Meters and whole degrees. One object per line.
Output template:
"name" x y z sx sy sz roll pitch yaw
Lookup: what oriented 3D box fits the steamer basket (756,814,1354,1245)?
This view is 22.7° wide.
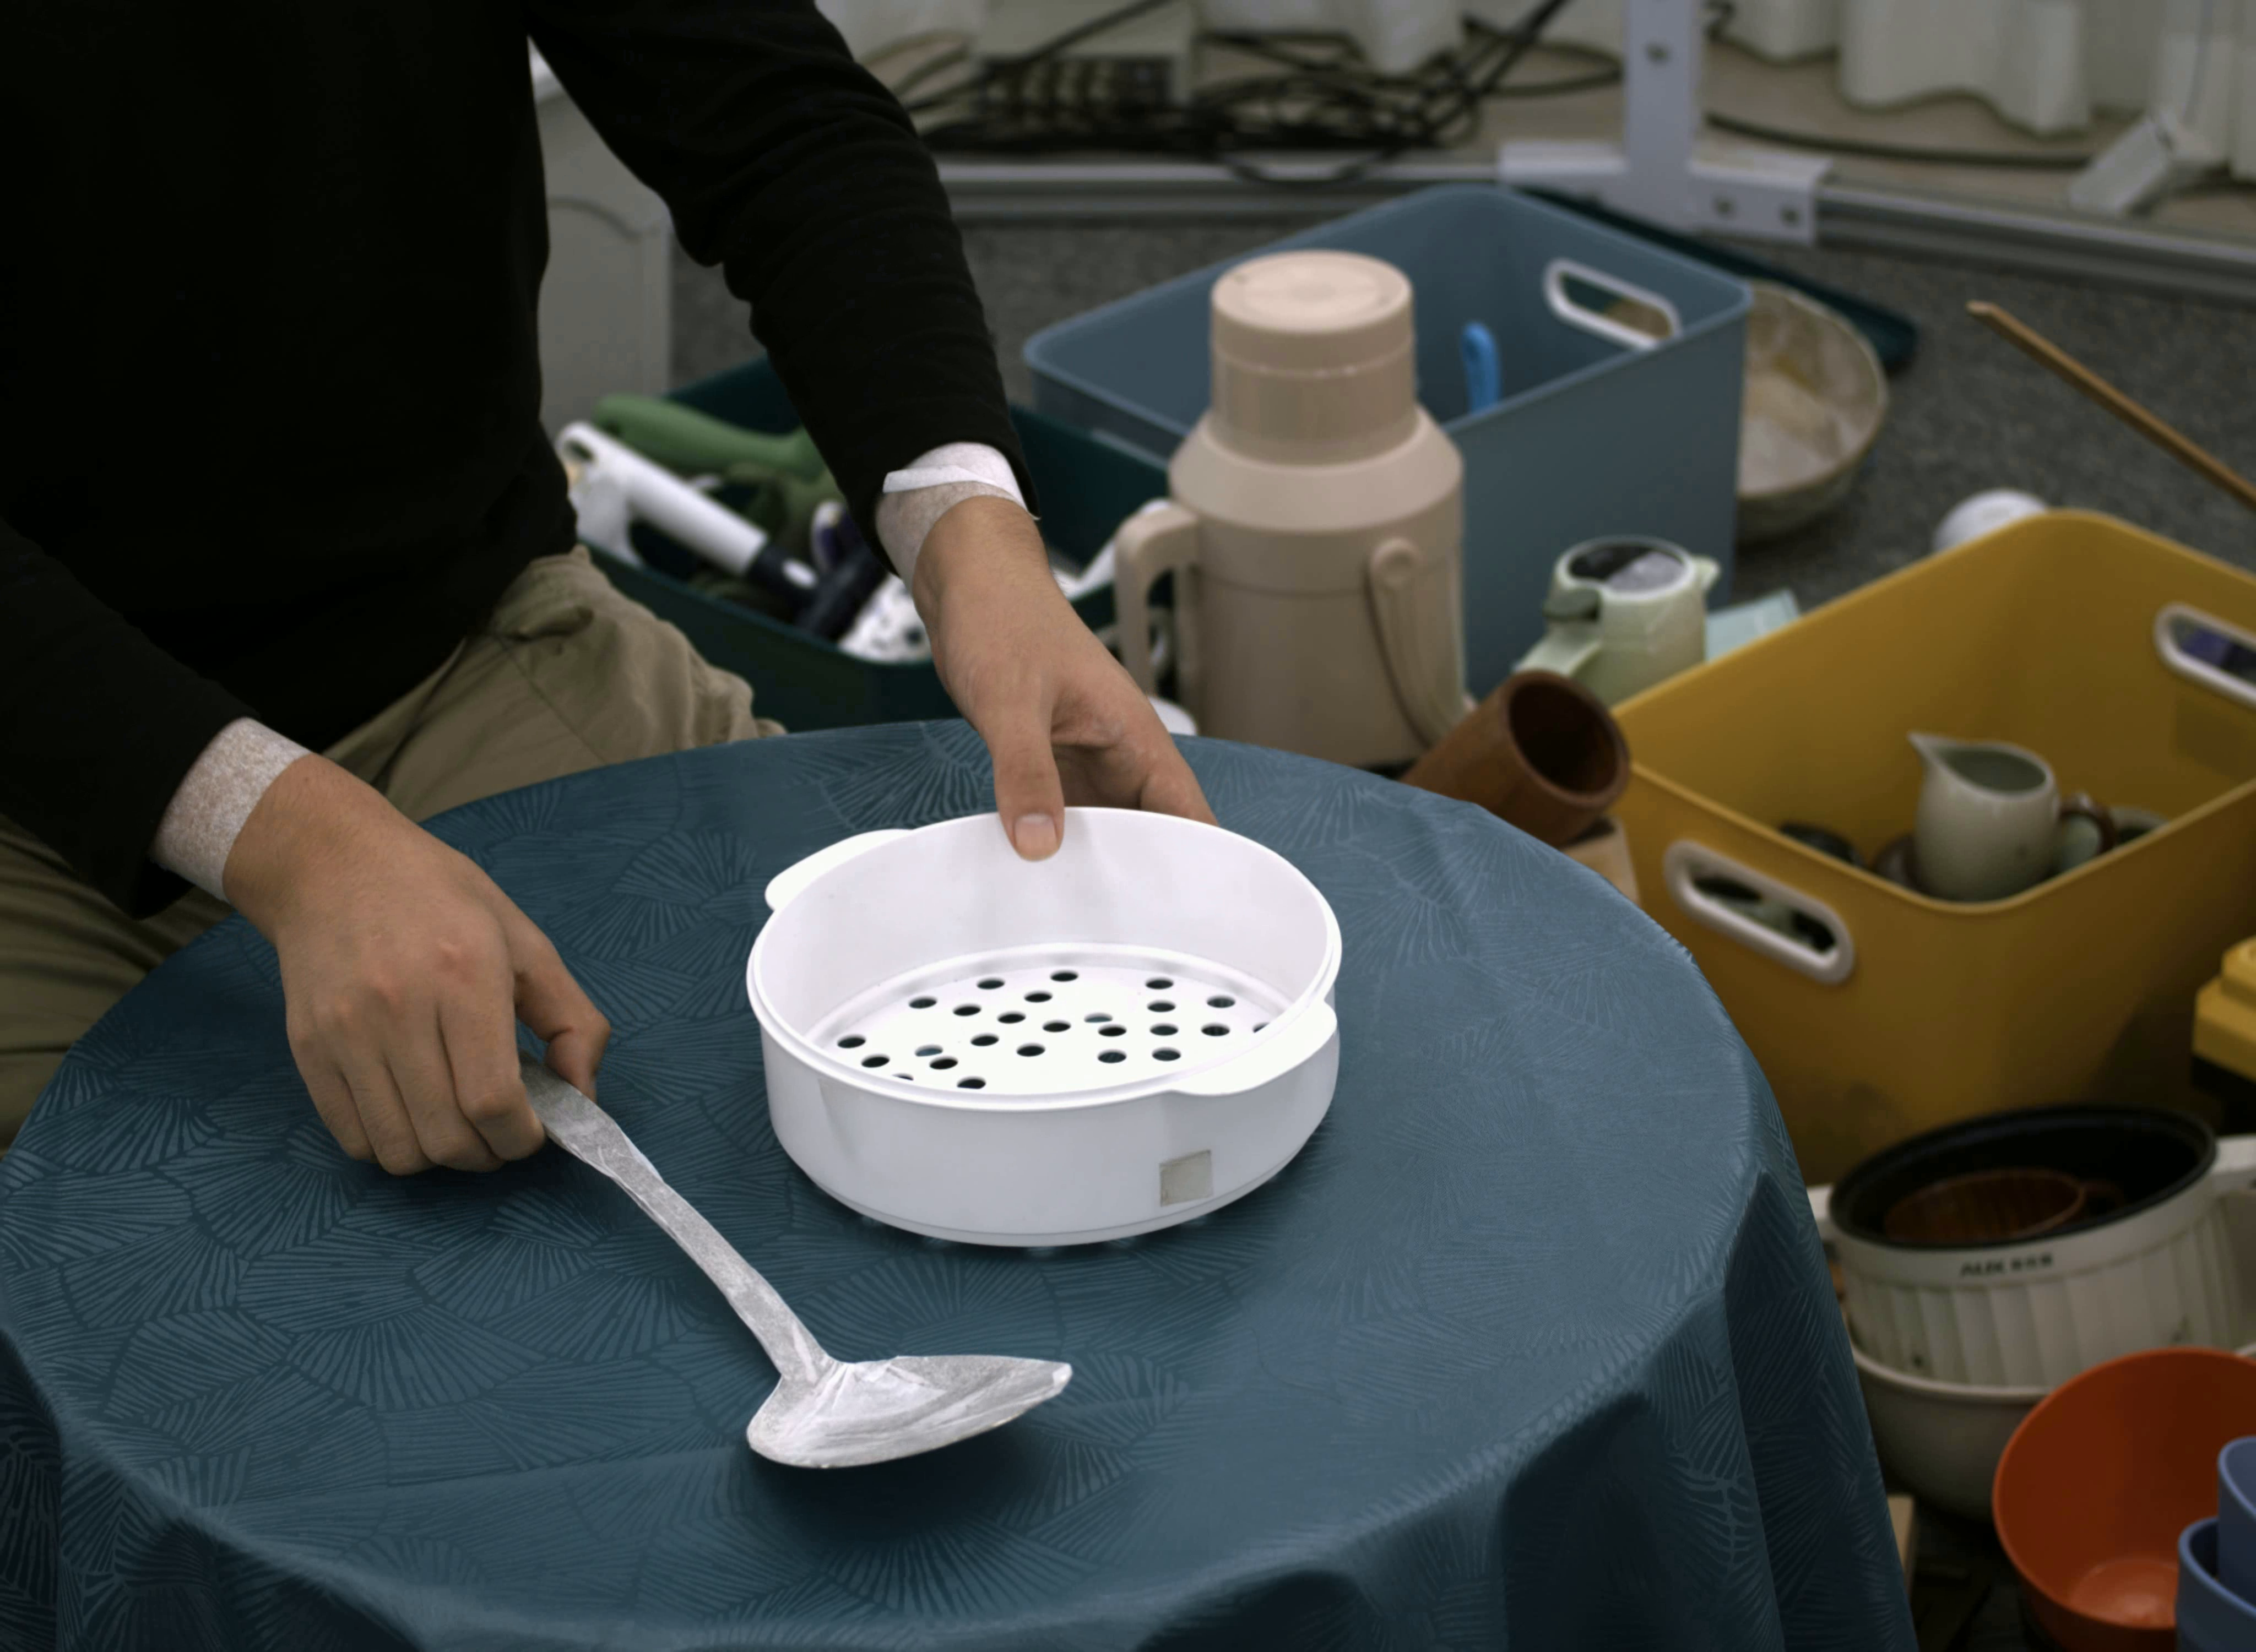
"steamer basket" -0.023 0.069 1.890 0.230 0.068 0.204 21 35 40

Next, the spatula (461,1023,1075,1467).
"spatula" -0.141 0.127 1.821 0.099 0.044 0.366 -19 32 -25
